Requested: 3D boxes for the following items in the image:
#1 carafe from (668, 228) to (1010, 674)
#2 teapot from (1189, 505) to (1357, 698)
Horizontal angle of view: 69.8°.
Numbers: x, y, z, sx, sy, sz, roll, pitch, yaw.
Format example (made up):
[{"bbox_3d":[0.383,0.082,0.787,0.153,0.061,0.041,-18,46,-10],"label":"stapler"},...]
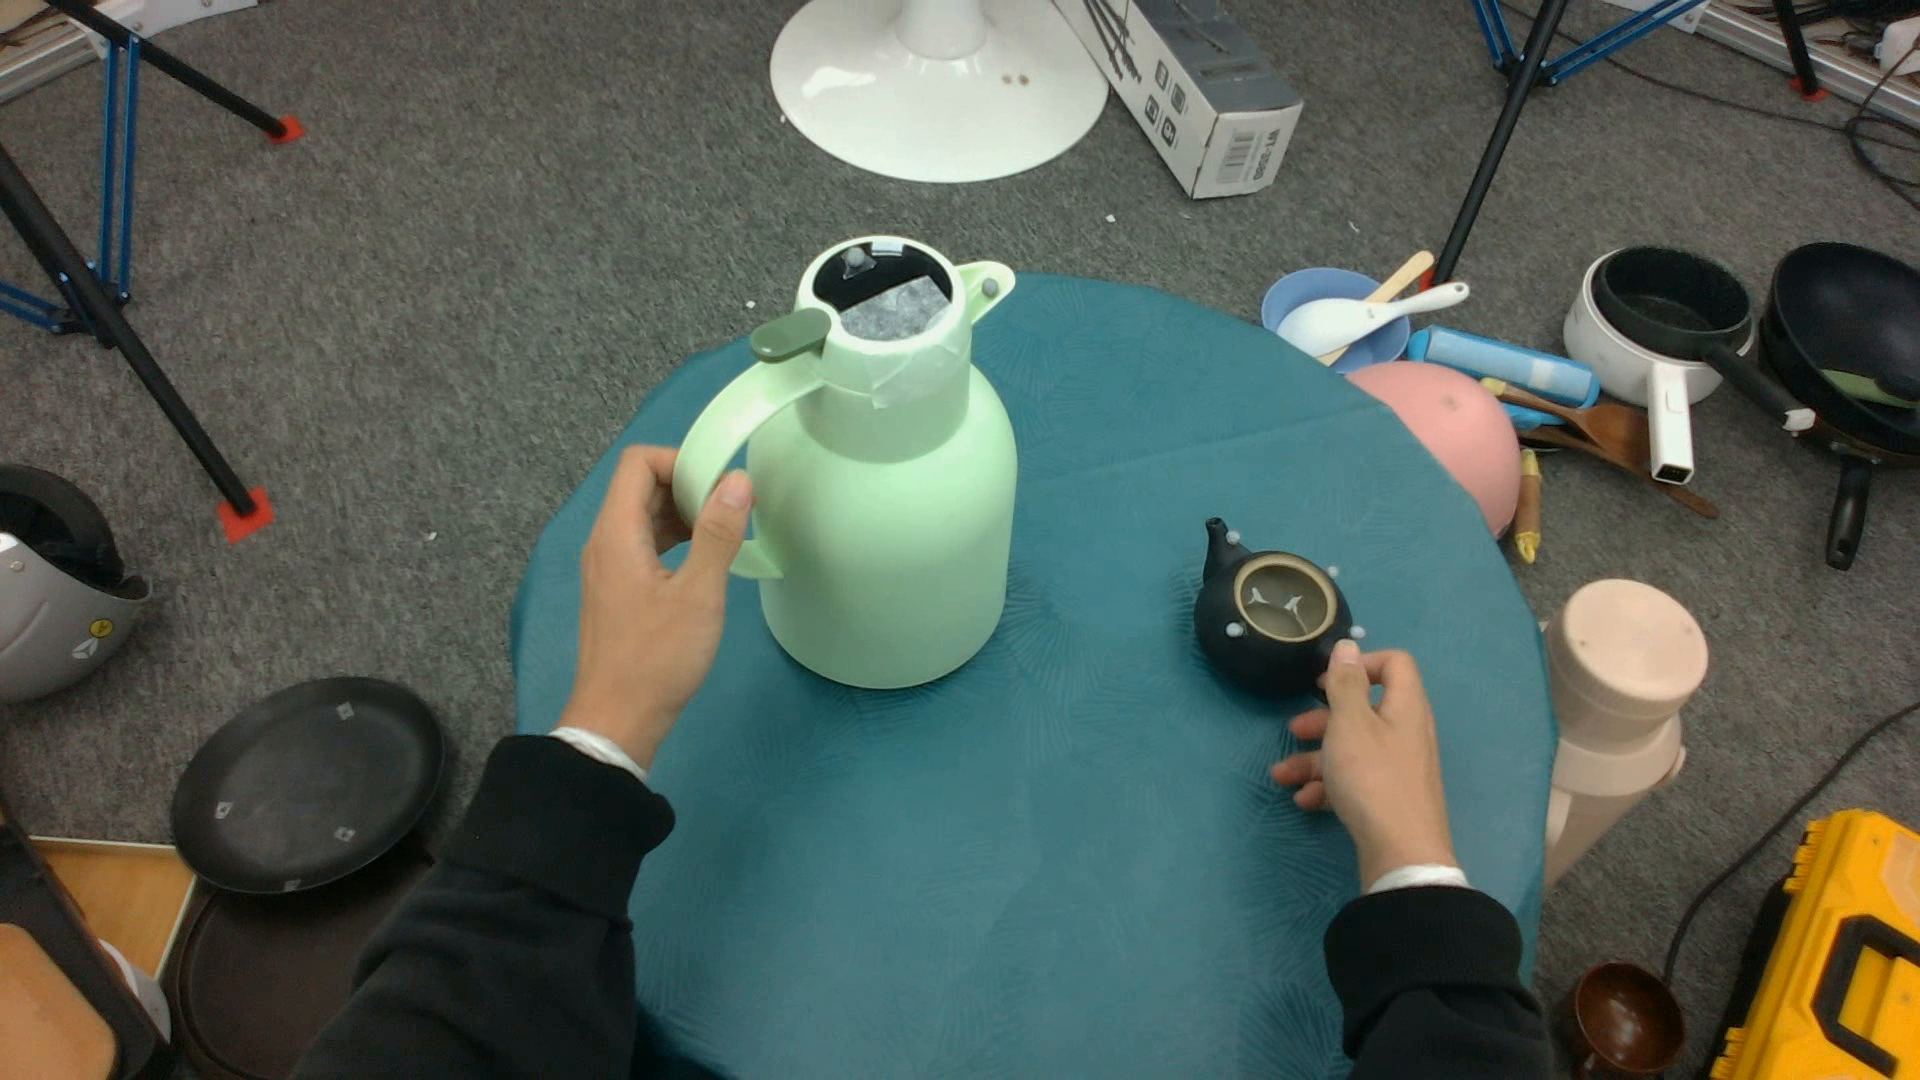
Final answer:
[{"bbox_3d":[-0.056,-0.039,0.713,0.187,0.255,0.144,-32,64,-19],"label":"carafe"},{"bbox_3d":[0.178,0.040,0.791,0.091,0.053,0.133,-28,60,-19],"label":"teapot"}]
